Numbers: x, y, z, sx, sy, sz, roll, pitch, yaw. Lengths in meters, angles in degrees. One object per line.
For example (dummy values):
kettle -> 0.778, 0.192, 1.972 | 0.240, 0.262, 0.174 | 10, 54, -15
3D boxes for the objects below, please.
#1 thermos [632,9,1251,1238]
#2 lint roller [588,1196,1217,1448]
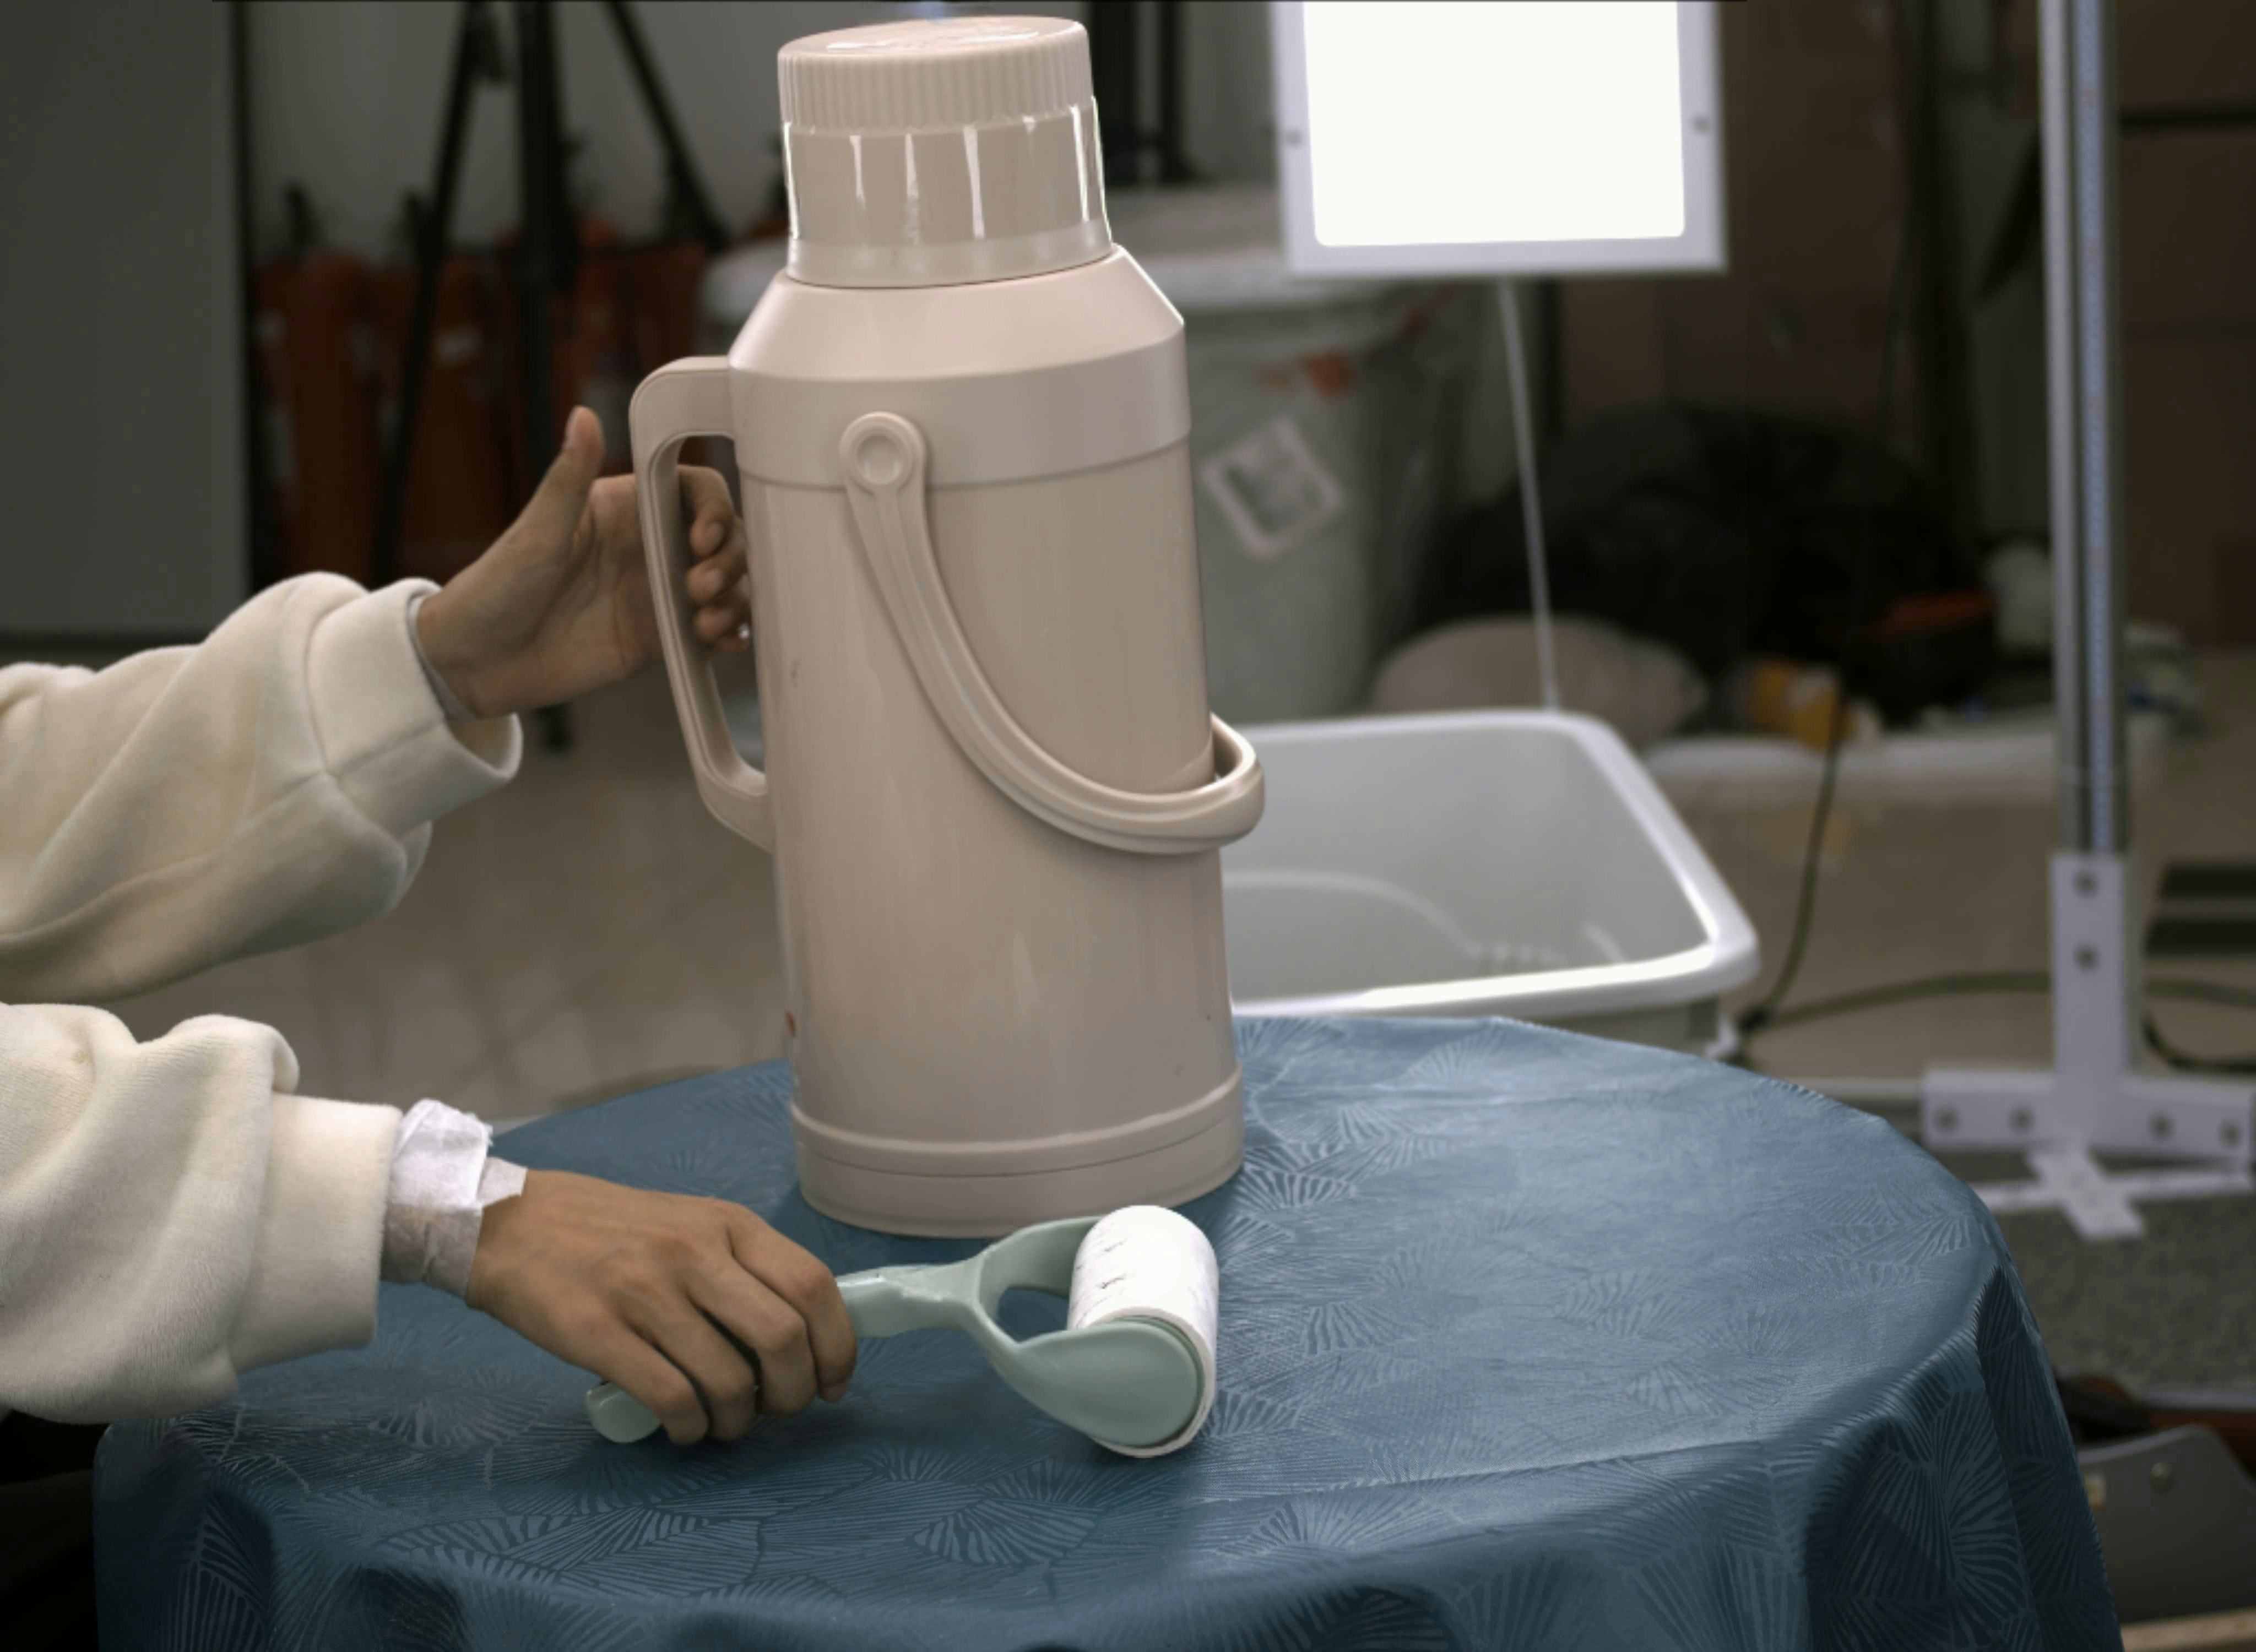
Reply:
thermos -> -0.064, -0.071, 1.893 | 0.209, 0.408, 0.172 | 0, 15, 18
lint roller -> -0.069, 0.156, 1.700 | 0.198, 0.049, 0.116 | -3, 16, 5
